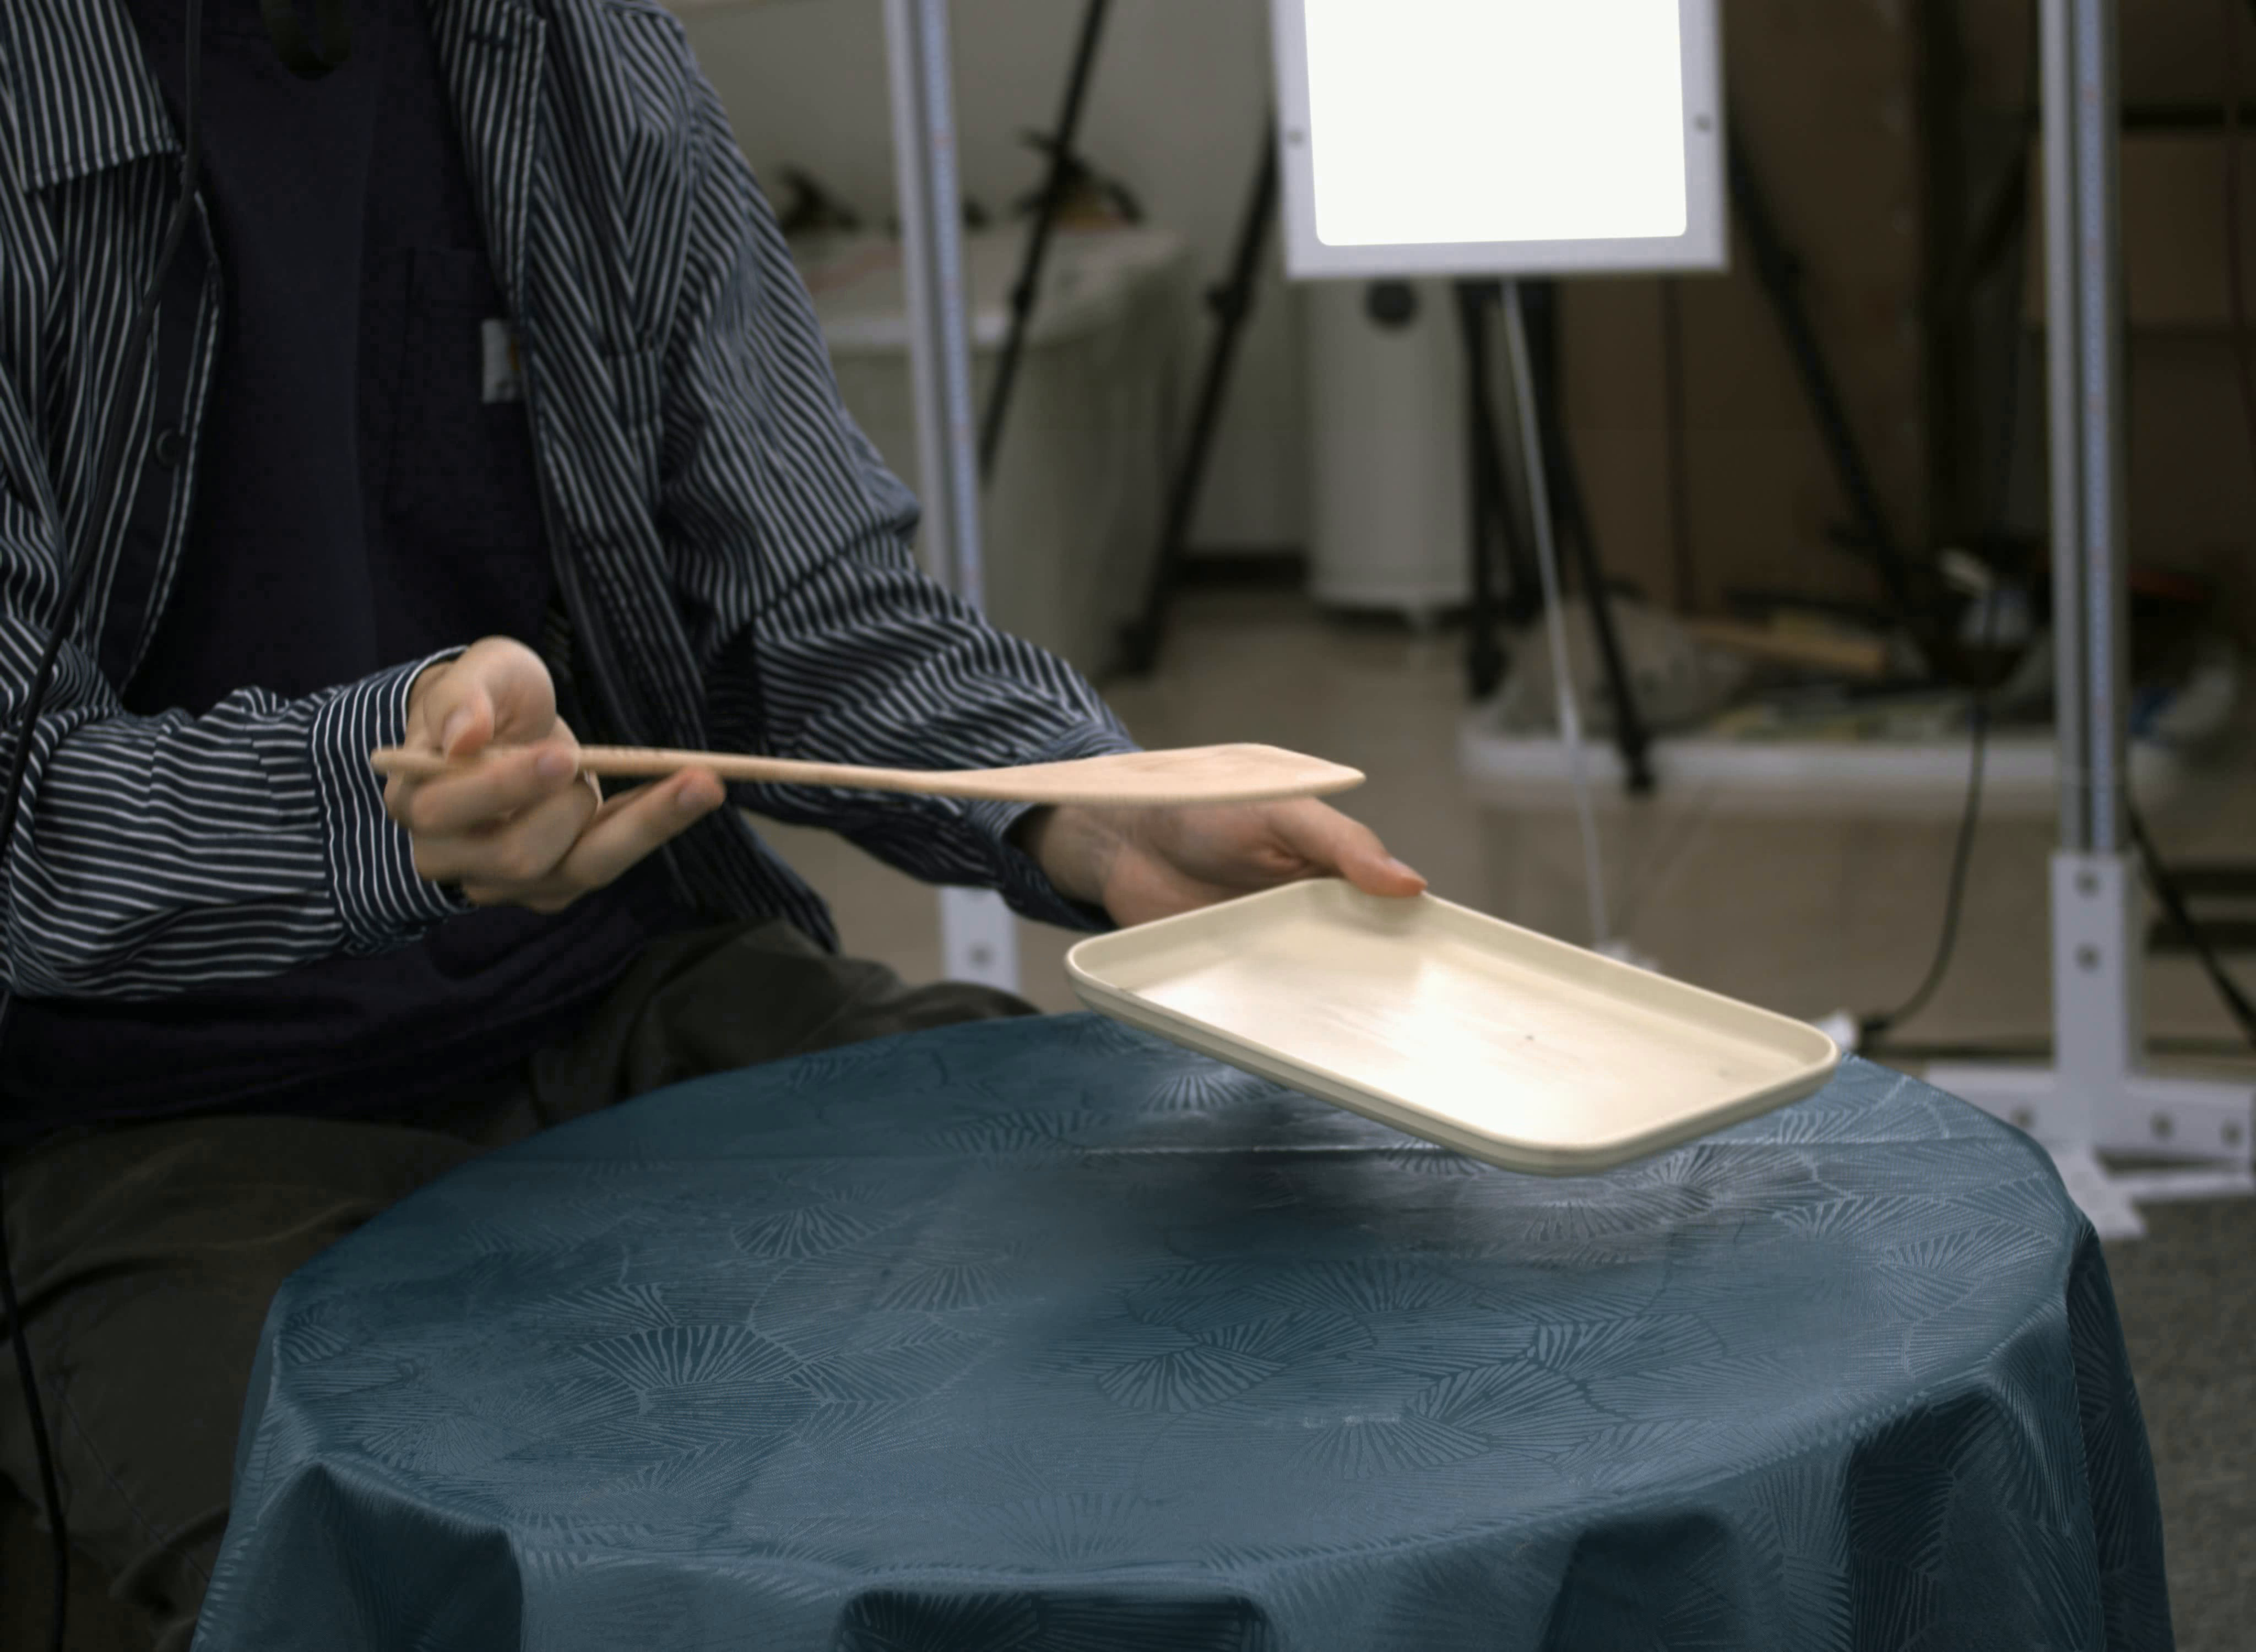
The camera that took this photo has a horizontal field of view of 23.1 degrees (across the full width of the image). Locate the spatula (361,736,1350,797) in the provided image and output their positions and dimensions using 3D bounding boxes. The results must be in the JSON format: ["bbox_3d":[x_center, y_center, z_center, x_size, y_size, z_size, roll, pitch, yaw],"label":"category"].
[{"bbox_3d":[-0.090,-0.023,1.791,0.321,0.016,0.081,2,7,-20],"label":"spatula"}]

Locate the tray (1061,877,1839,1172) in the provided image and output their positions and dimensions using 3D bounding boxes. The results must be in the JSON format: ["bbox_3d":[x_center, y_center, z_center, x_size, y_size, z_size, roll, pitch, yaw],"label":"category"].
[{"bbox_3d":[0.107,0.066,1.861,0.167,0.017,0.244,-14,24,-43],"label":"tray"}]
